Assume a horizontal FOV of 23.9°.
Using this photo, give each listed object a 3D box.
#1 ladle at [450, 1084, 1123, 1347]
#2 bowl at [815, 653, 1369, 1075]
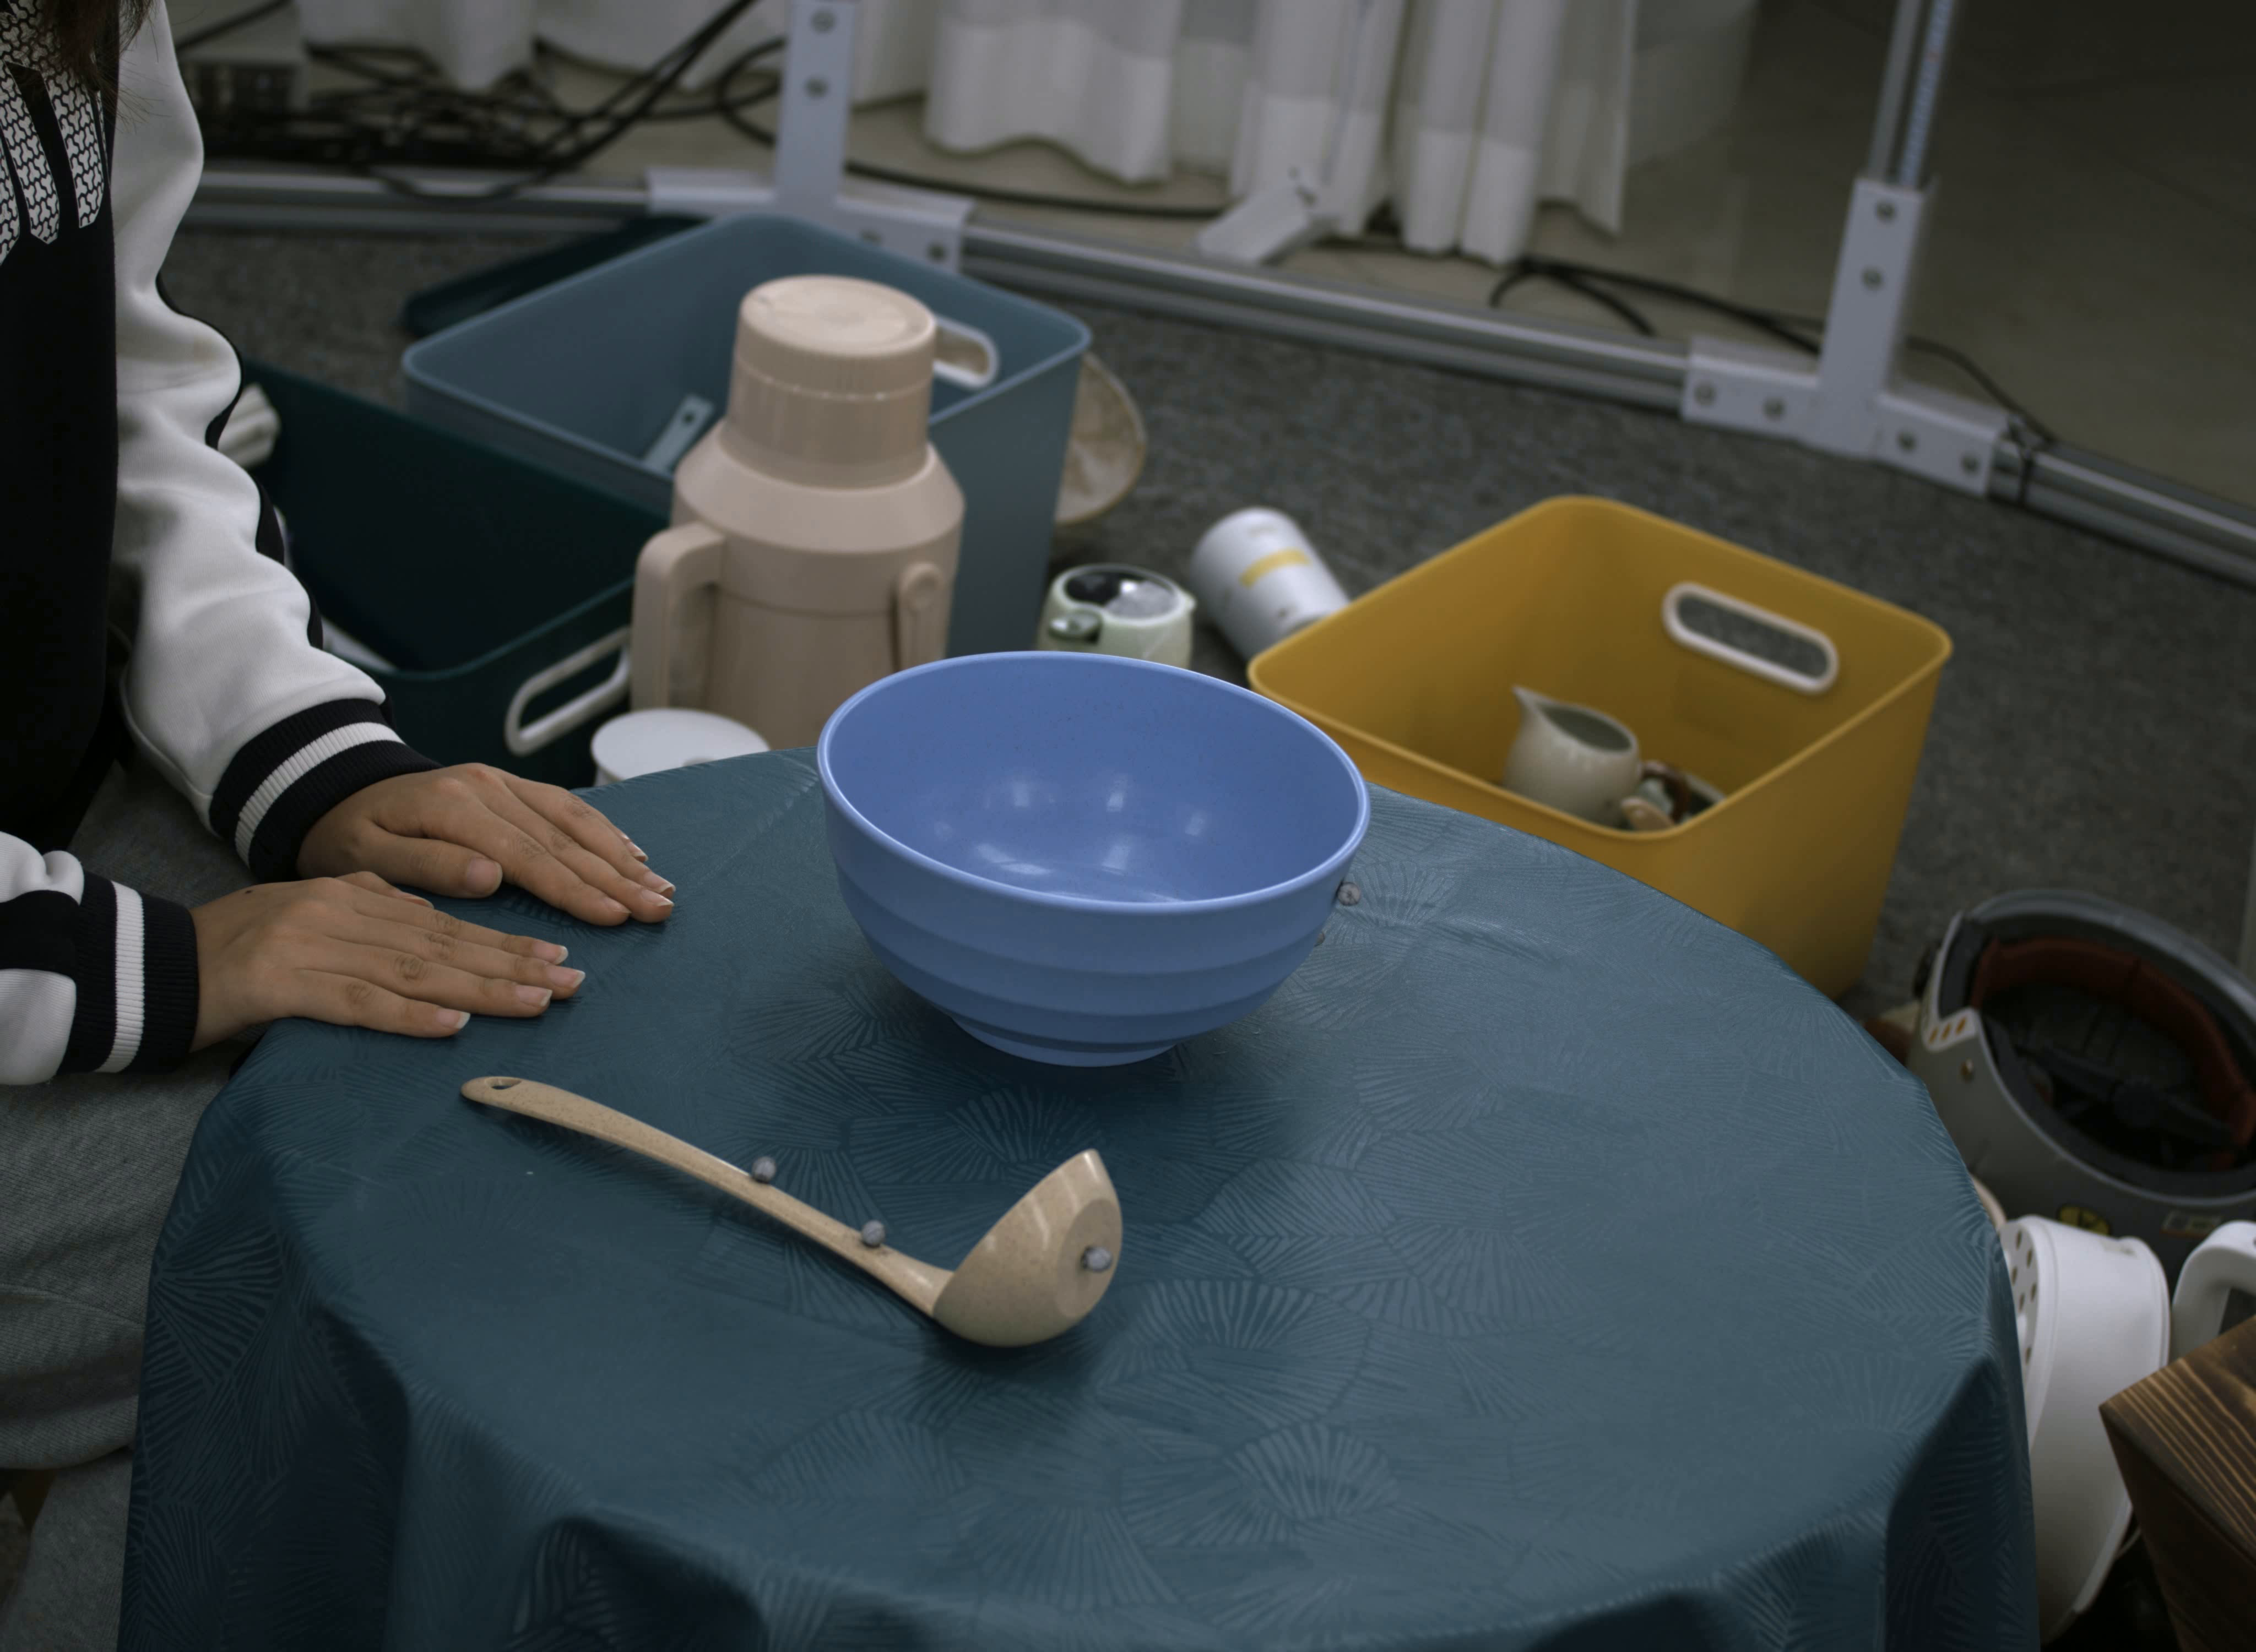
[{"bbox_3d":[-0.118,0.100,1.742,0.256,0.072,0.072,21,29,26],"label":"ladle"},{"bbox_3d":[-0.017,0.025,1.895,0.196,0.095,0.198,4,28,-3],"label":"bowl"}]
